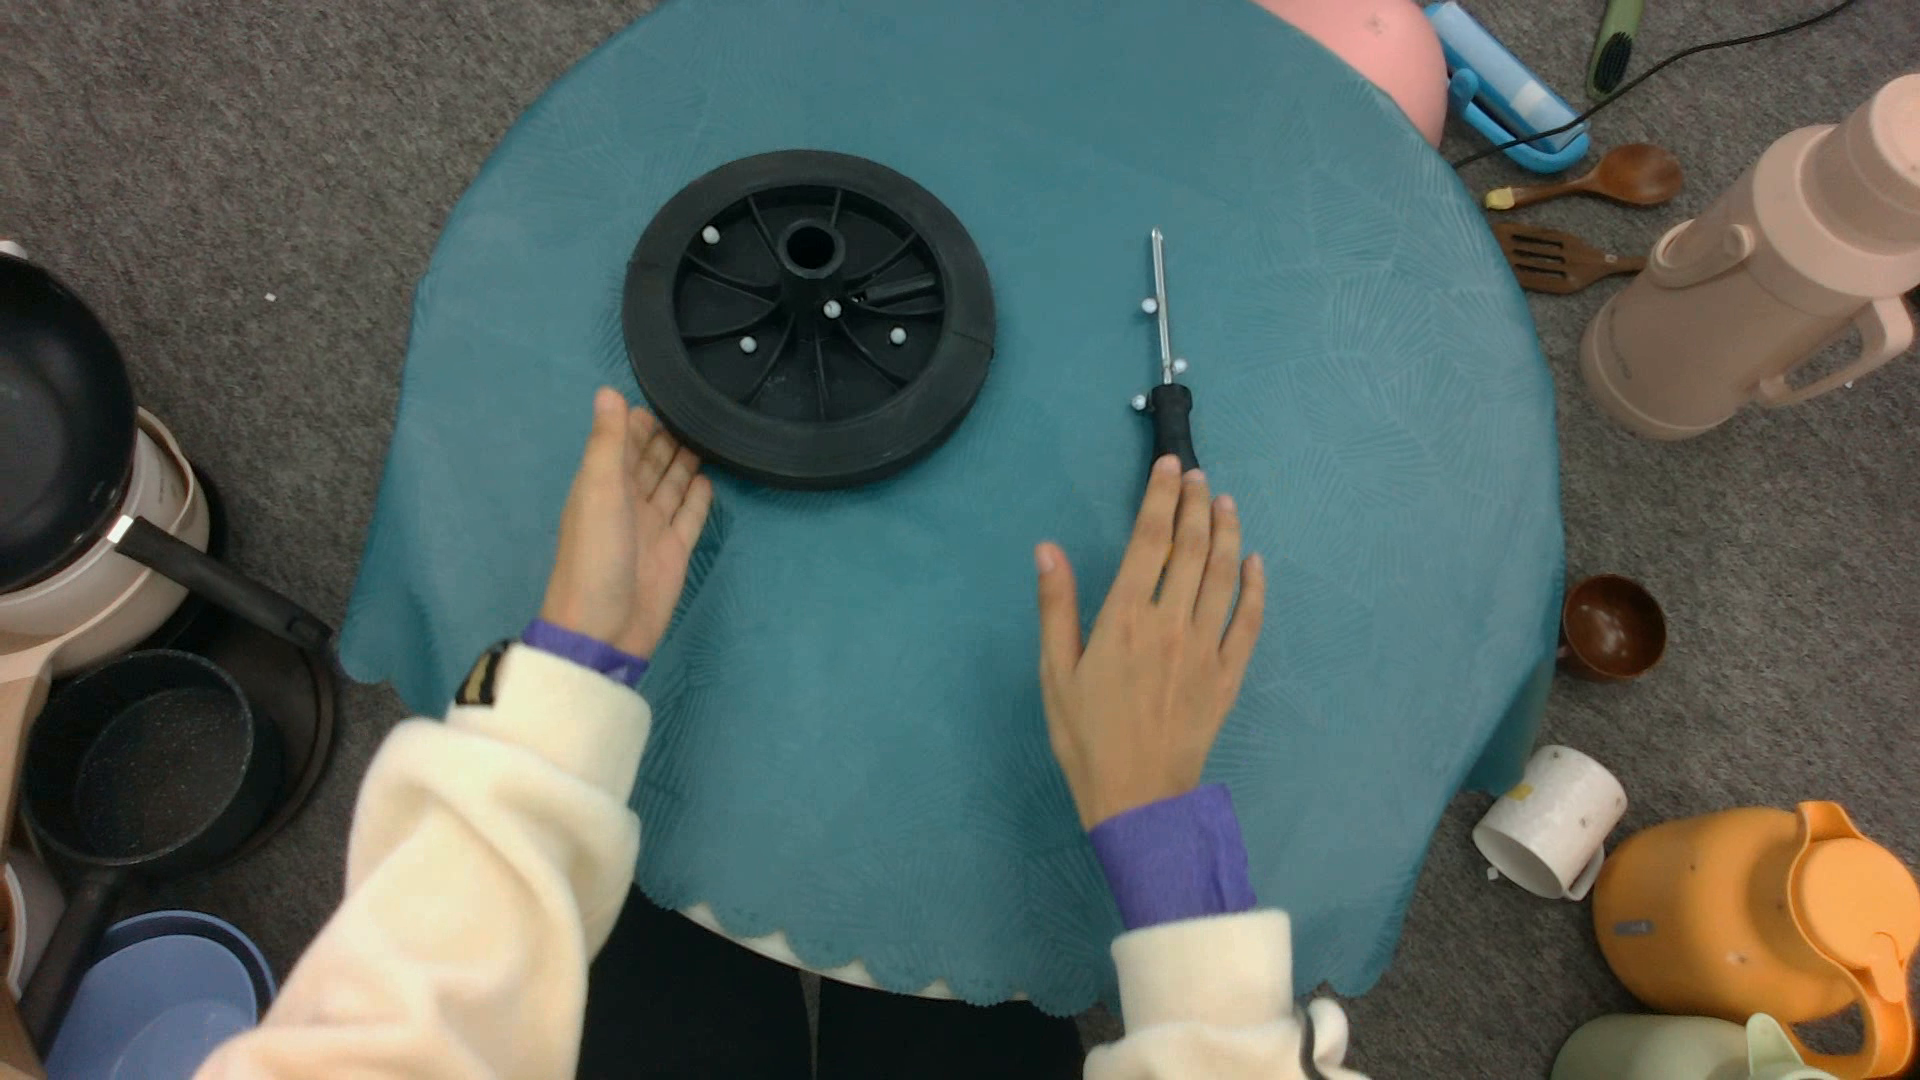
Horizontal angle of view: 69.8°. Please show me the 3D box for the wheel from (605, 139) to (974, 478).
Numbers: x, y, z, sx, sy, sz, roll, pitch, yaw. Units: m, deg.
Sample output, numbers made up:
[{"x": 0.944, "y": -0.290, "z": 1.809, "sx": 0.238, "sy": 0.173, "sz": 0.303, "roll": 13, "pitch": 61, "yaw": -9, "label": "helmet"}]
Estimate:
[{"x": -0.082, "y": -0.129, "z": 0.683, "sx": 0.190, "sy": 0.079, "sz": 0.187, "roll": -41, "pitch": 79, "yaw": -19, "label": "wheel"}]

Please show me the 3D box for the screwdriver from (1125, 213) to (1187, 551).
[{"x": 0.095, "y": -0.088, "z": 0.712, "sx": 0.031, "sy": 0.031, "sz": 0.197, "roll": -2, "pitch": 69, "yaw": -5, "label": "screwdriver"}]
